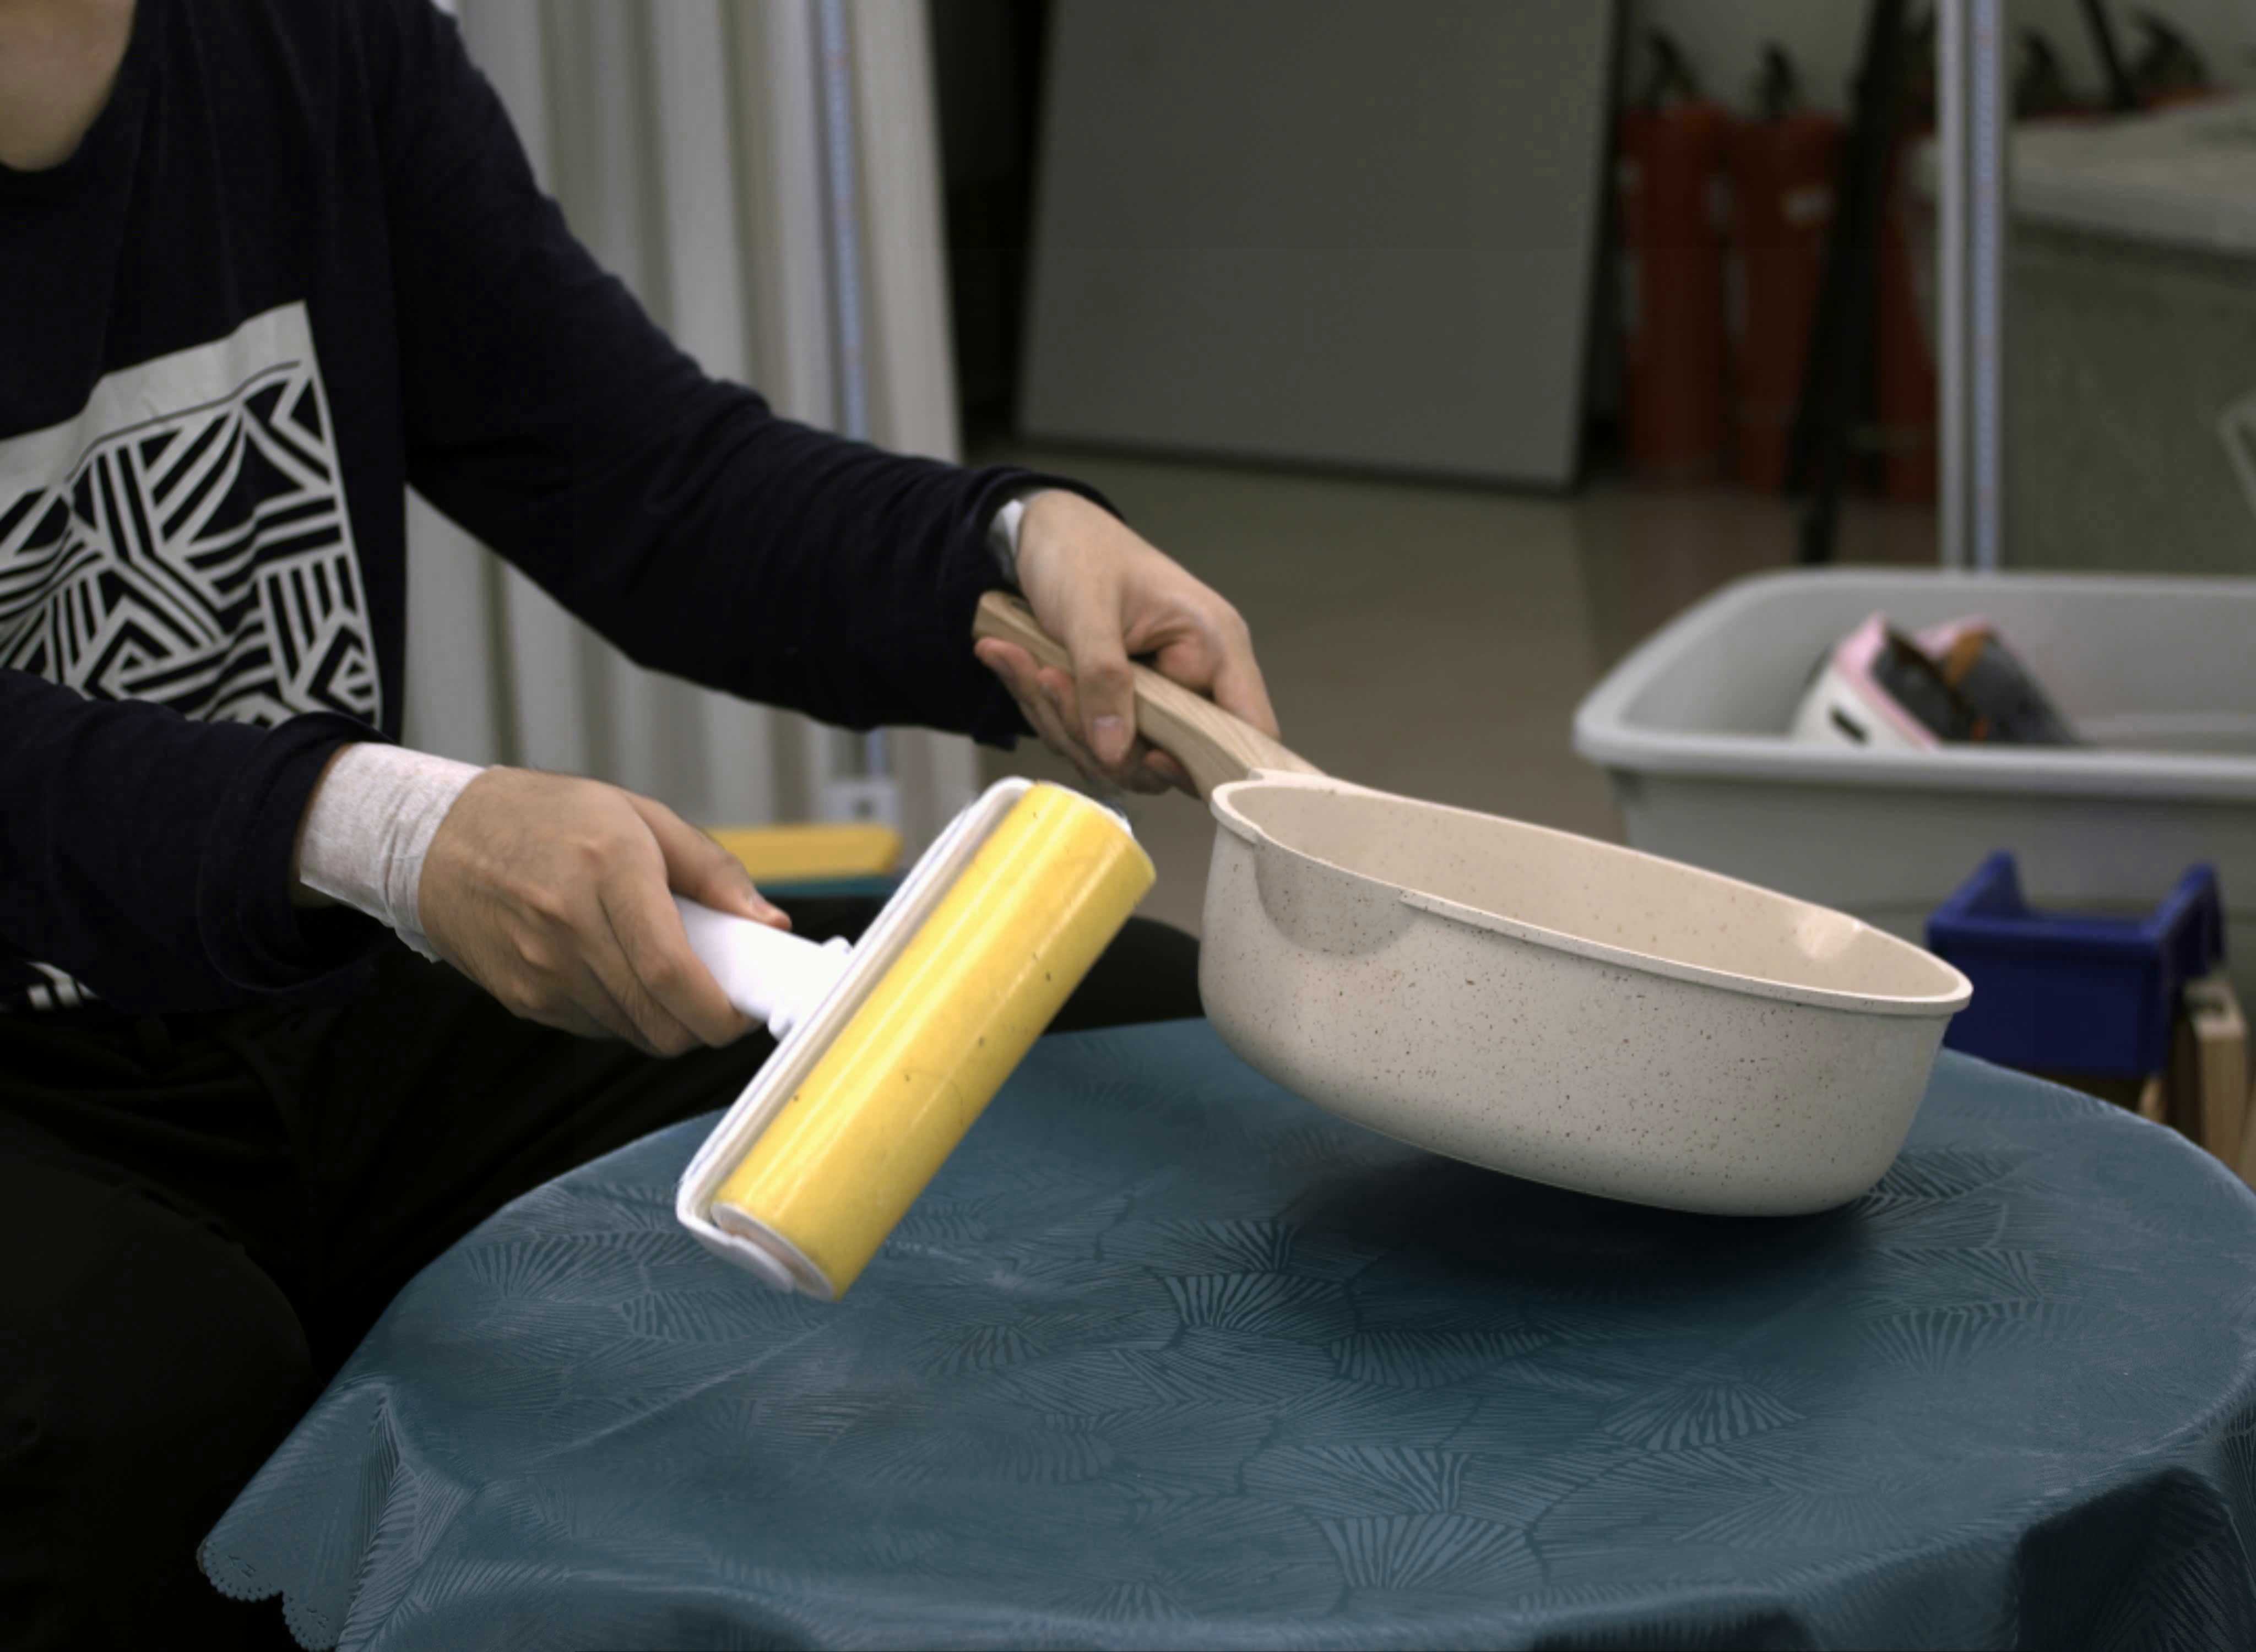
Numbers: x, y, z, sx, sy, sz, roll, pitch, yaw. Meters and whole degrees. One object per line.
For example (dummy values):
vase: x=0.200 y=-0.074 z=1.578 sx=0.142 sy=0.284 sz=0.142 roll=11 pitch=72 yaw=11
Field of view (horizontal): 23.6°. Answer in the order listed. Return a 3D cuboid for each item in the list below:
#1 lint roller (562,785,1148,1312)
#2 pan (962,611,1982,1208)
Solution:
lint roller: x=-0.109 y=0.045 z=1.612 sx=0.194 sy=0.051 sz=0.174 roll=21 pitch=66 yaw=39
pan: x=0.083 y=0.026 z=1.783 sx=0.257 sy=0.103 sz=0.439 roll=4 pitch=12 yaw=-42
